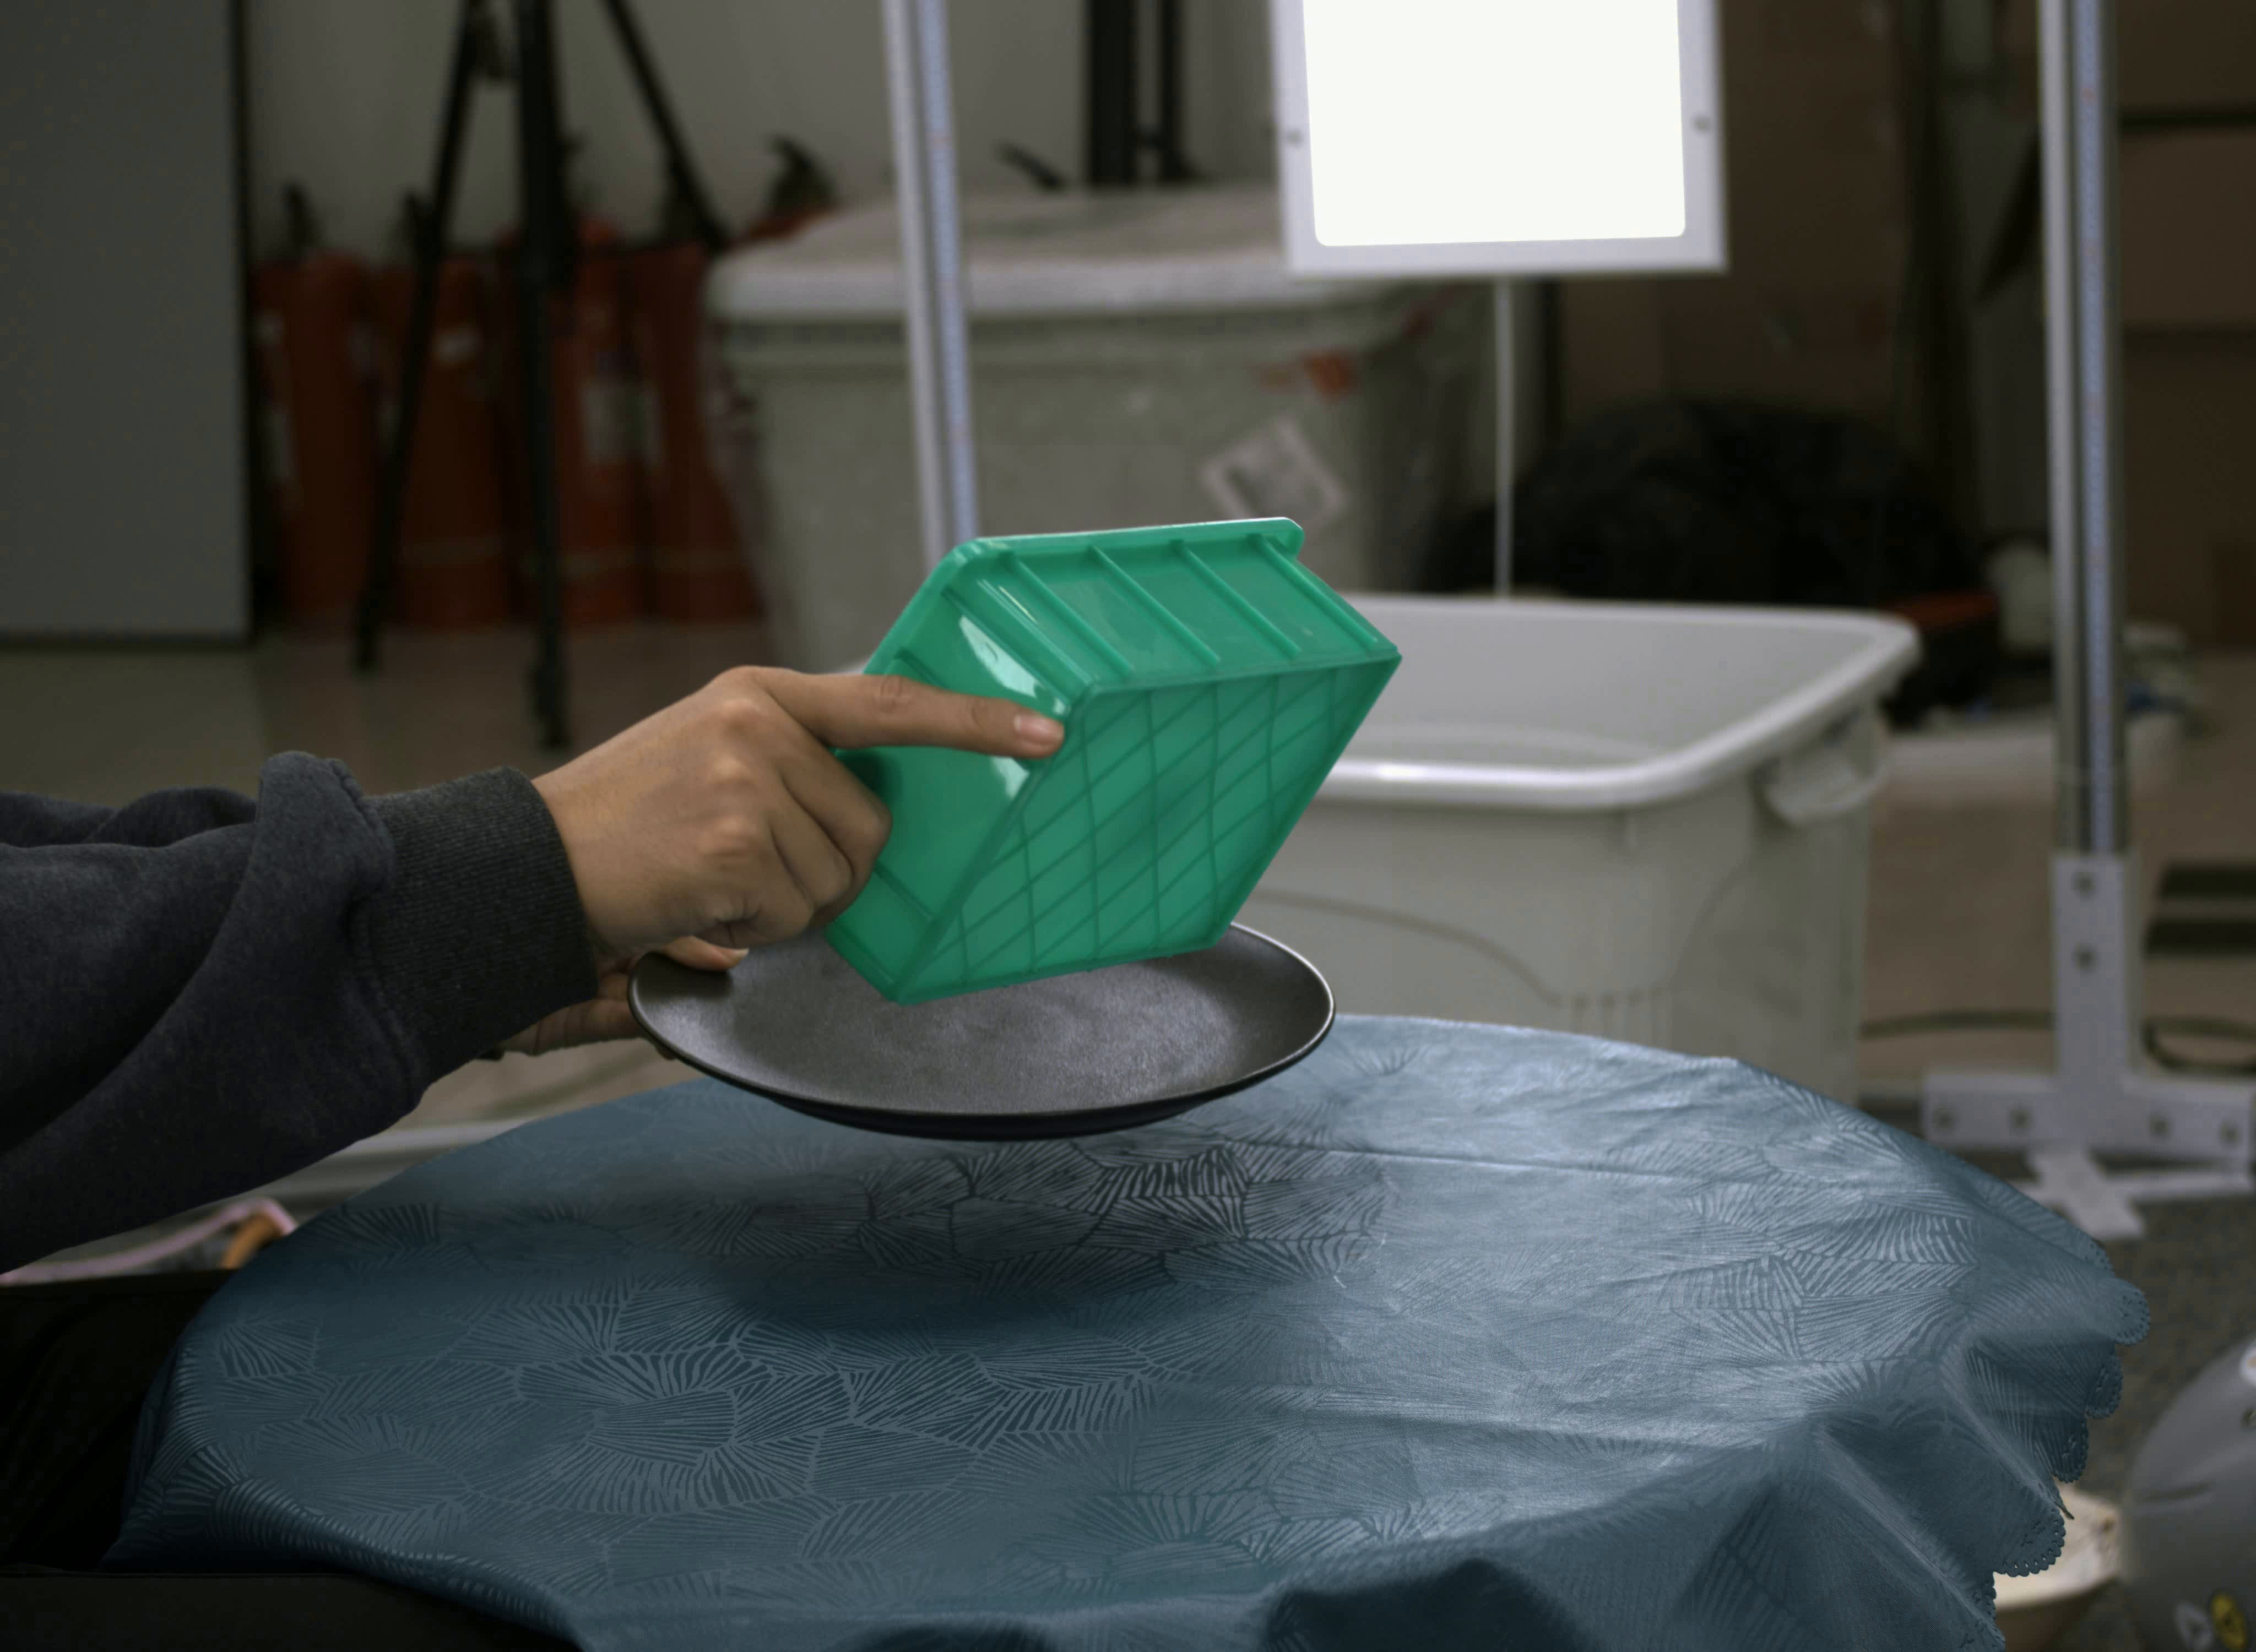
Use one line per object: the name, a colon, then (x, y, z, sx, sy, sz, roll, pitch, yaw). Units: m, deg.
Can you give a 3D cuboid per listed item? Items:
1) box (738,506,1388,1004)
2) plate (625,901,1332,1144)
box: (-0.013, -0.020, 1.653, 0.066, 0.140, 0.205, 40, 24, 21)
plate: (-0.051, 0.067, 1.890, 0.243, 0.023, 0.244, 1, 18, -2)
